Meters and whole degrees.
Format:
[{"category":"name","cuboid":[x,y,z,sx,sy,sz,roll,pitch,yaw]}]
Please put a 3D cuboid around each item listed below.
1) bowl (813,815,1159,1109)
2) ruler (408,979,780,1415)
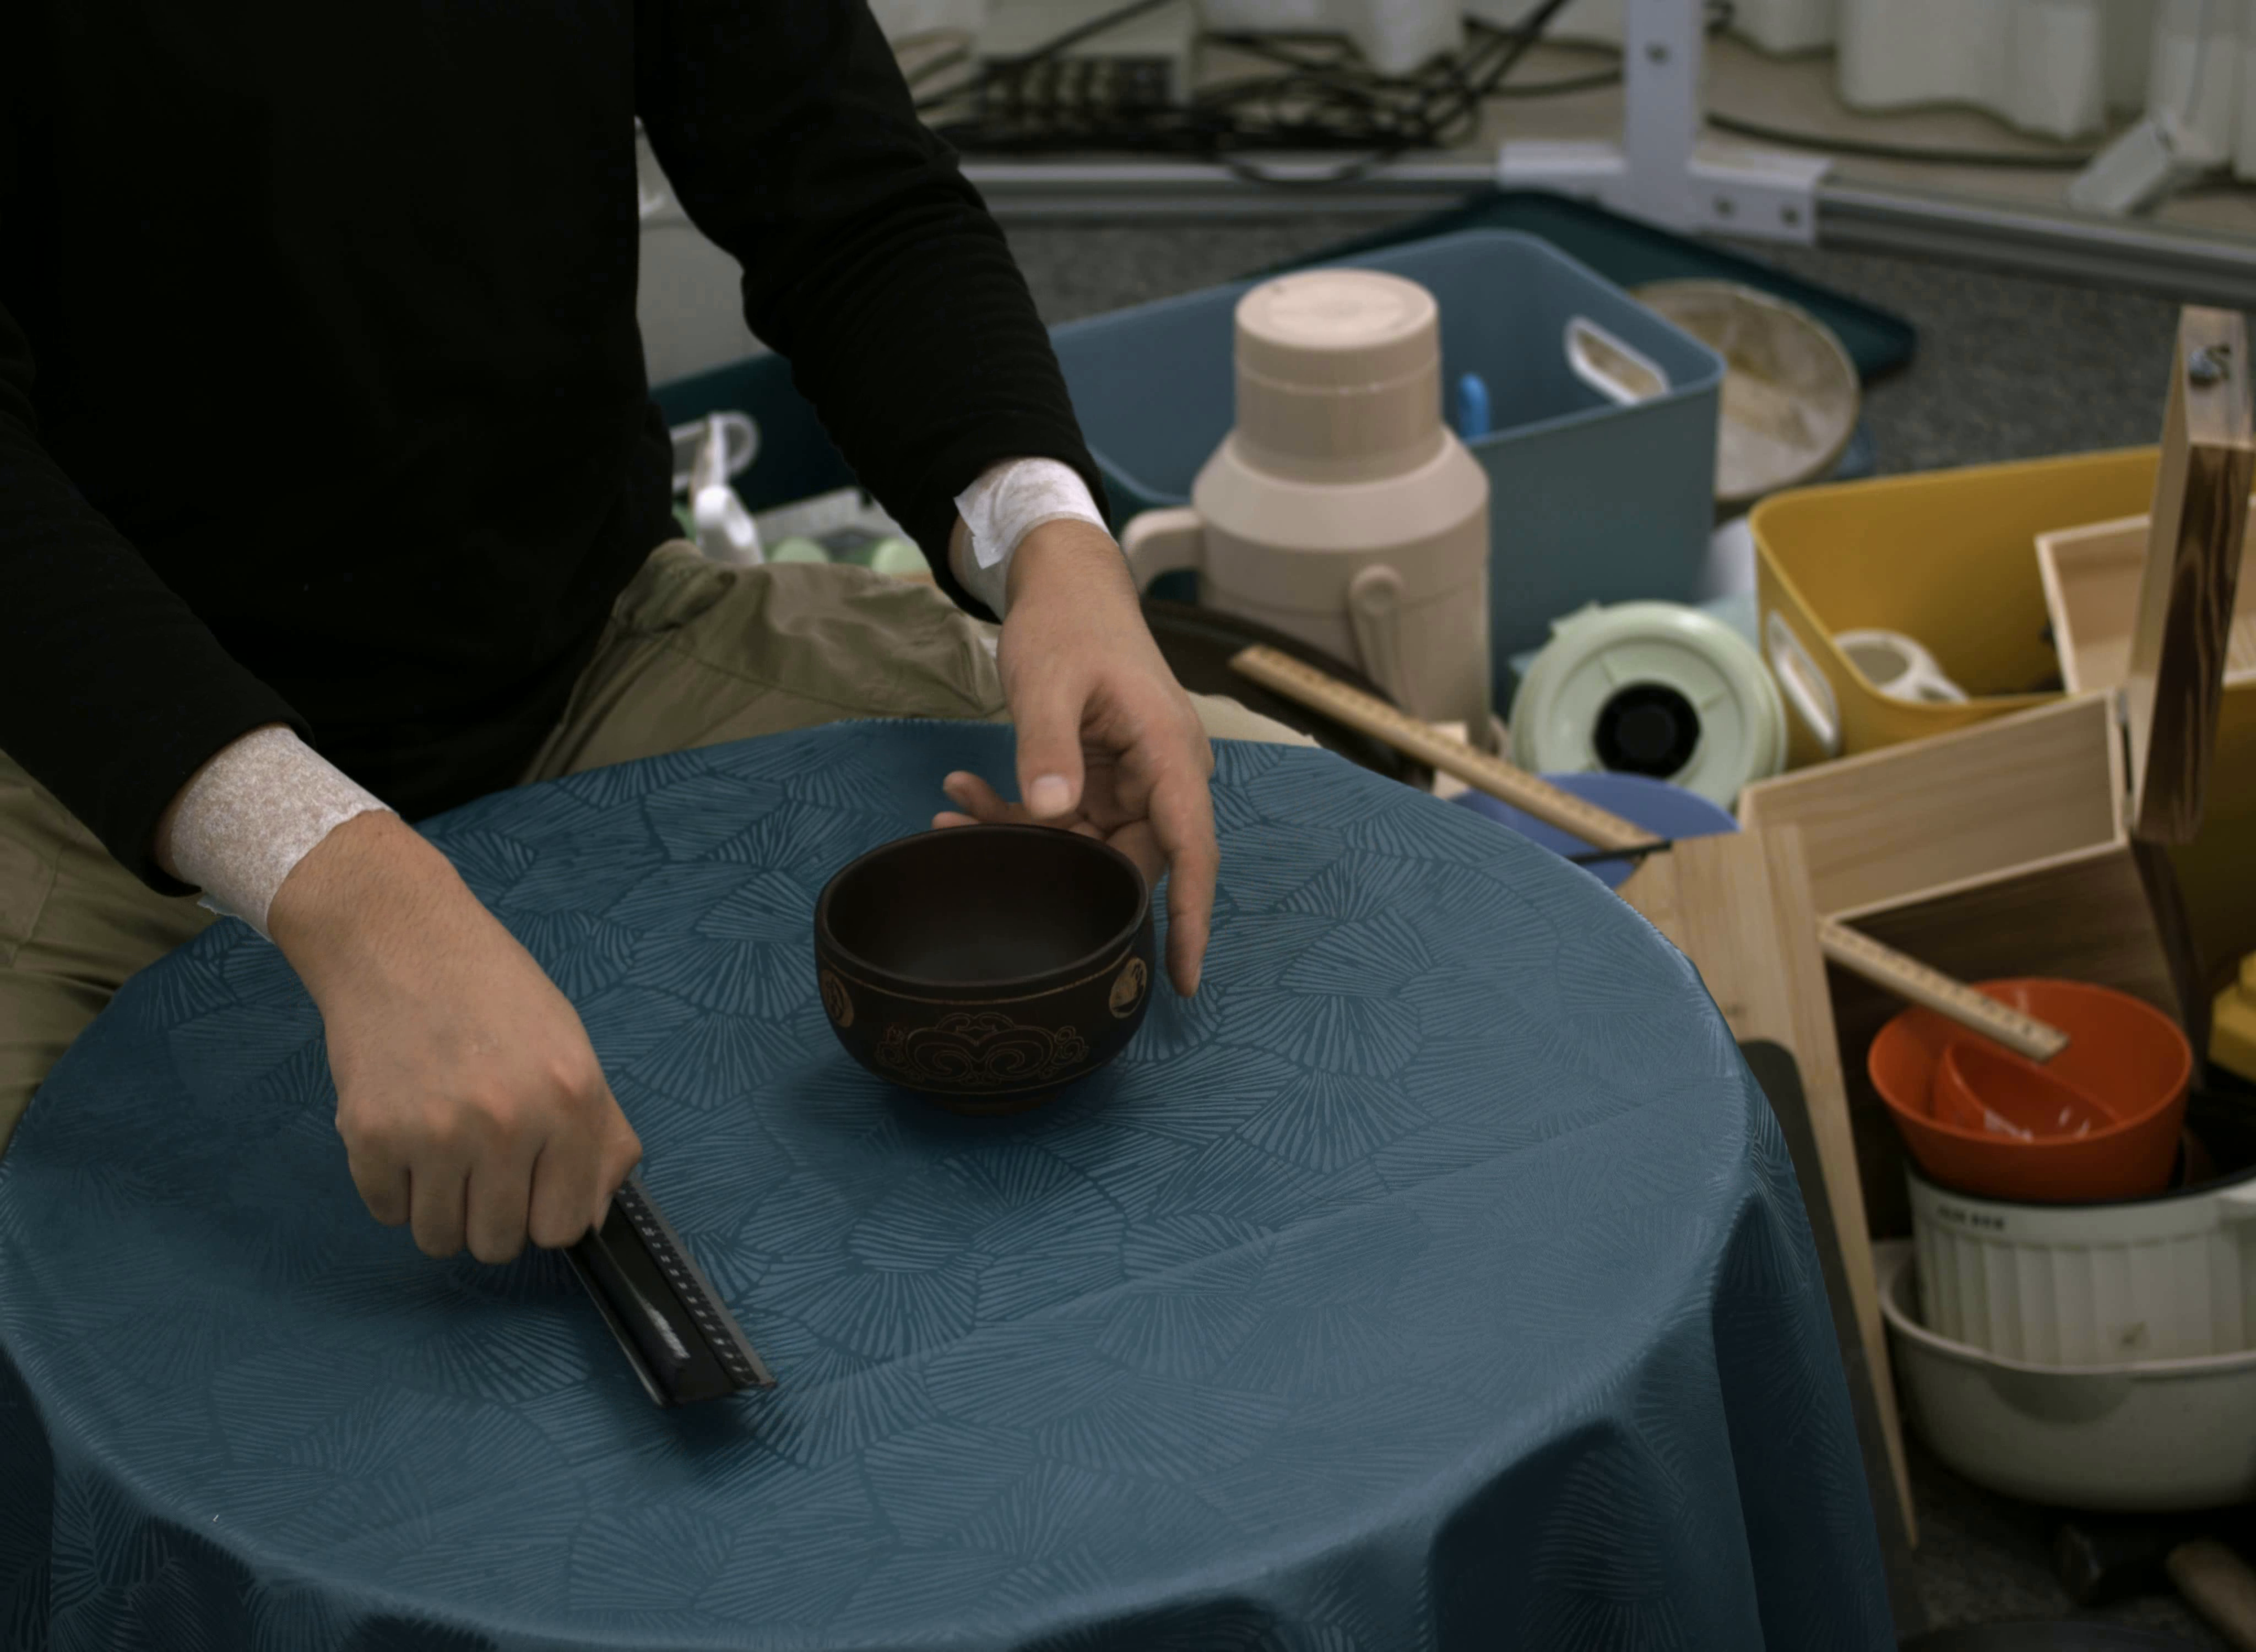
[{"category":"bowl","cuboid":[-0.048,0.053,1.919,0.117,0.069,0.120,-2,27,1]},{"category":"ruler","cuboid":[-0.180,0.115,1.857,0.039,0.017,0.314,-8,24,-20]}]
